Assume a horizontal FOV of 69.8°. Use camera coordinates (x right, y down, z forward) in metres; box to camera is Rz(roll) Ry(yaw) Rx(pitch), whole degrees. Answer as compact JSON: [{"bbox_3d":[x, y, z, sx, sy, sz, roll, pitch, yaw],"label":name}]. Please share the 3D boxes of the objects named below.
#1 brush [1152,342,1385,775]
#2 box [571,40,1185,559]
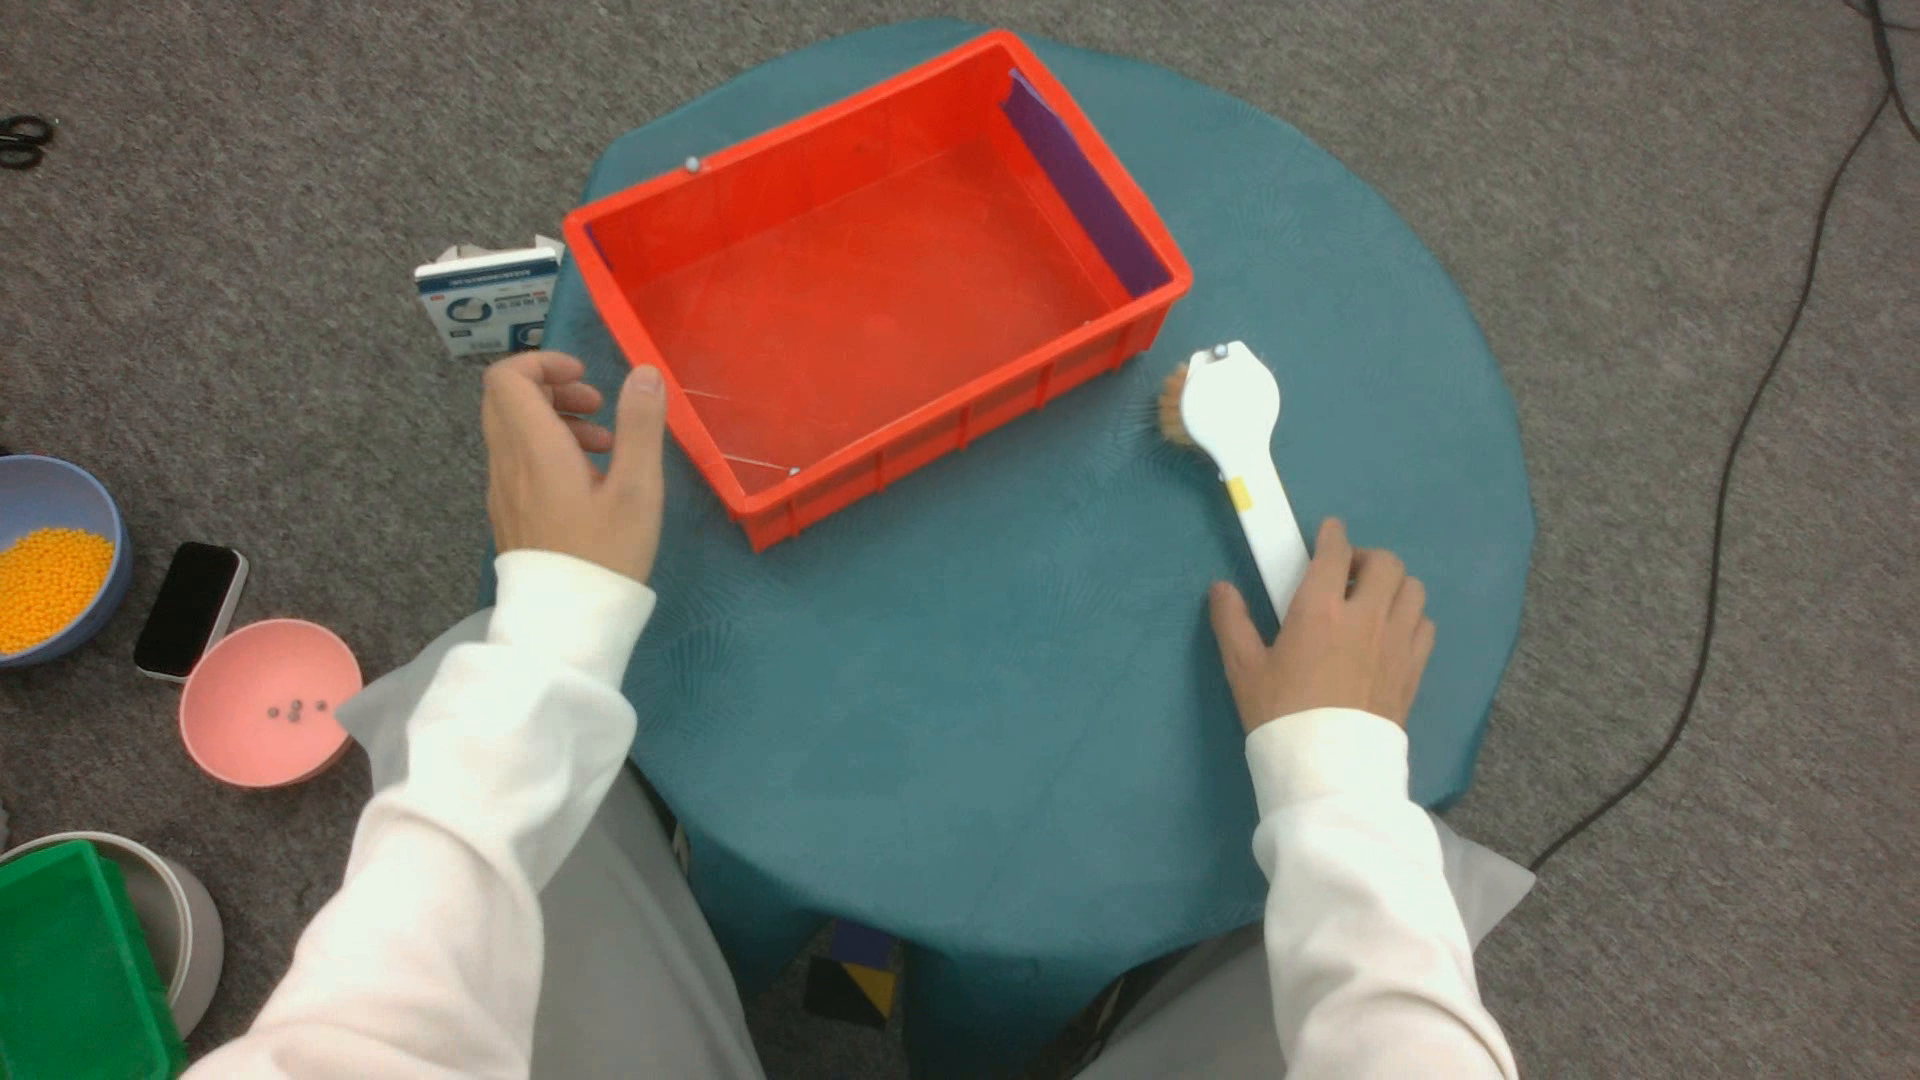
[{"bbox_3d":[0.184,0.009,0.810,0.068,0.056,0.266,-21,85,4],"label":"brush"},{"bbox_3d":[-0.046,-0.143,0.817,0.304,0.096,0.207,-30,74,-14],"label":"box"}]
